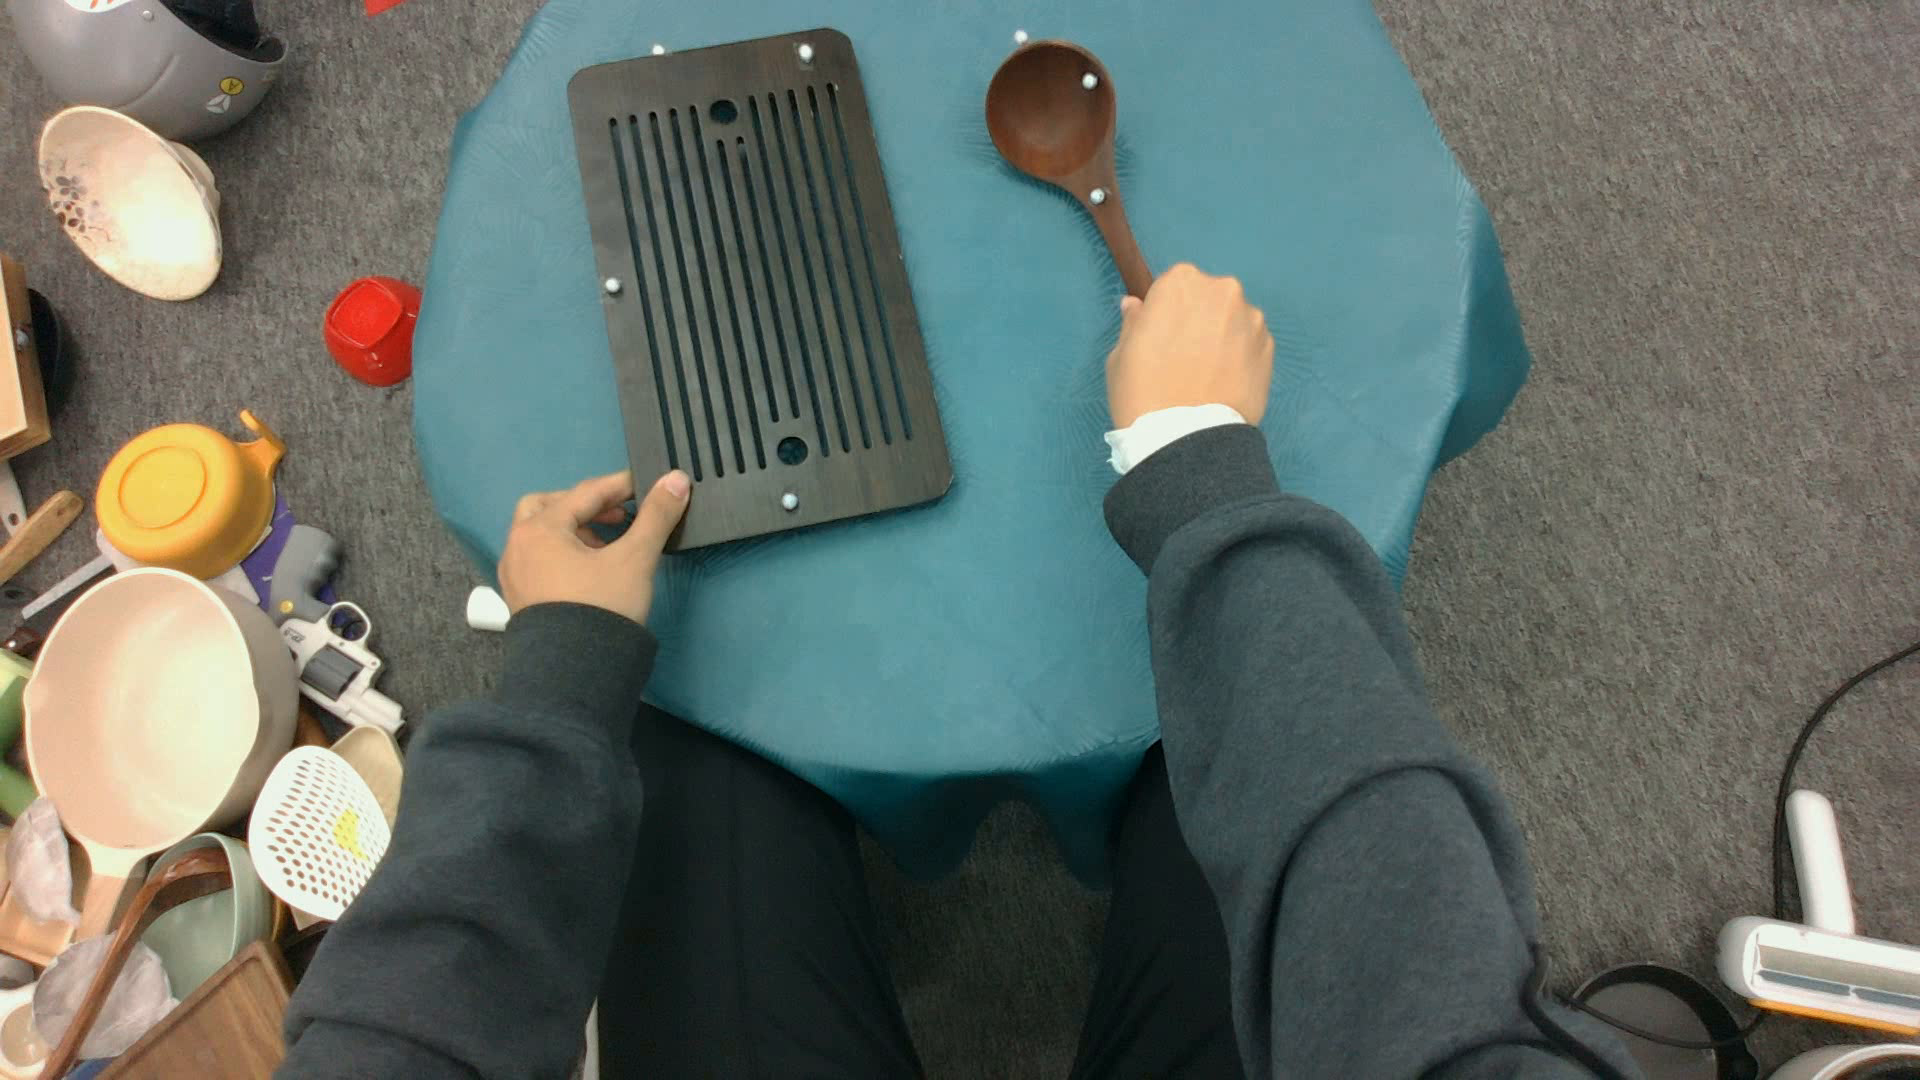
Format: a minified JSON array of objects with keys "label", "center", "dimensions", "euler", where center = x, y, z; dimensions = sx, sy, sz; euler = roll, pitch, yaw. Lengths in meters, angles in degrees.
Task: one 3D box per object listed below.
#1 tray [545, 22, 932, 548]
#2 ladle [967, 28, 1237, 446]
[{"label":"tray","center":[-0.129,-0.152,0.777],"dimensions":[0.170,0.018,0.306],"euler":[-11,73,-6]},{"label":"ladle","center":[0.079,-0.167,0.754],"dimensions":[0.076,0.065,0.260],"euler":[-33,69,27]}]
